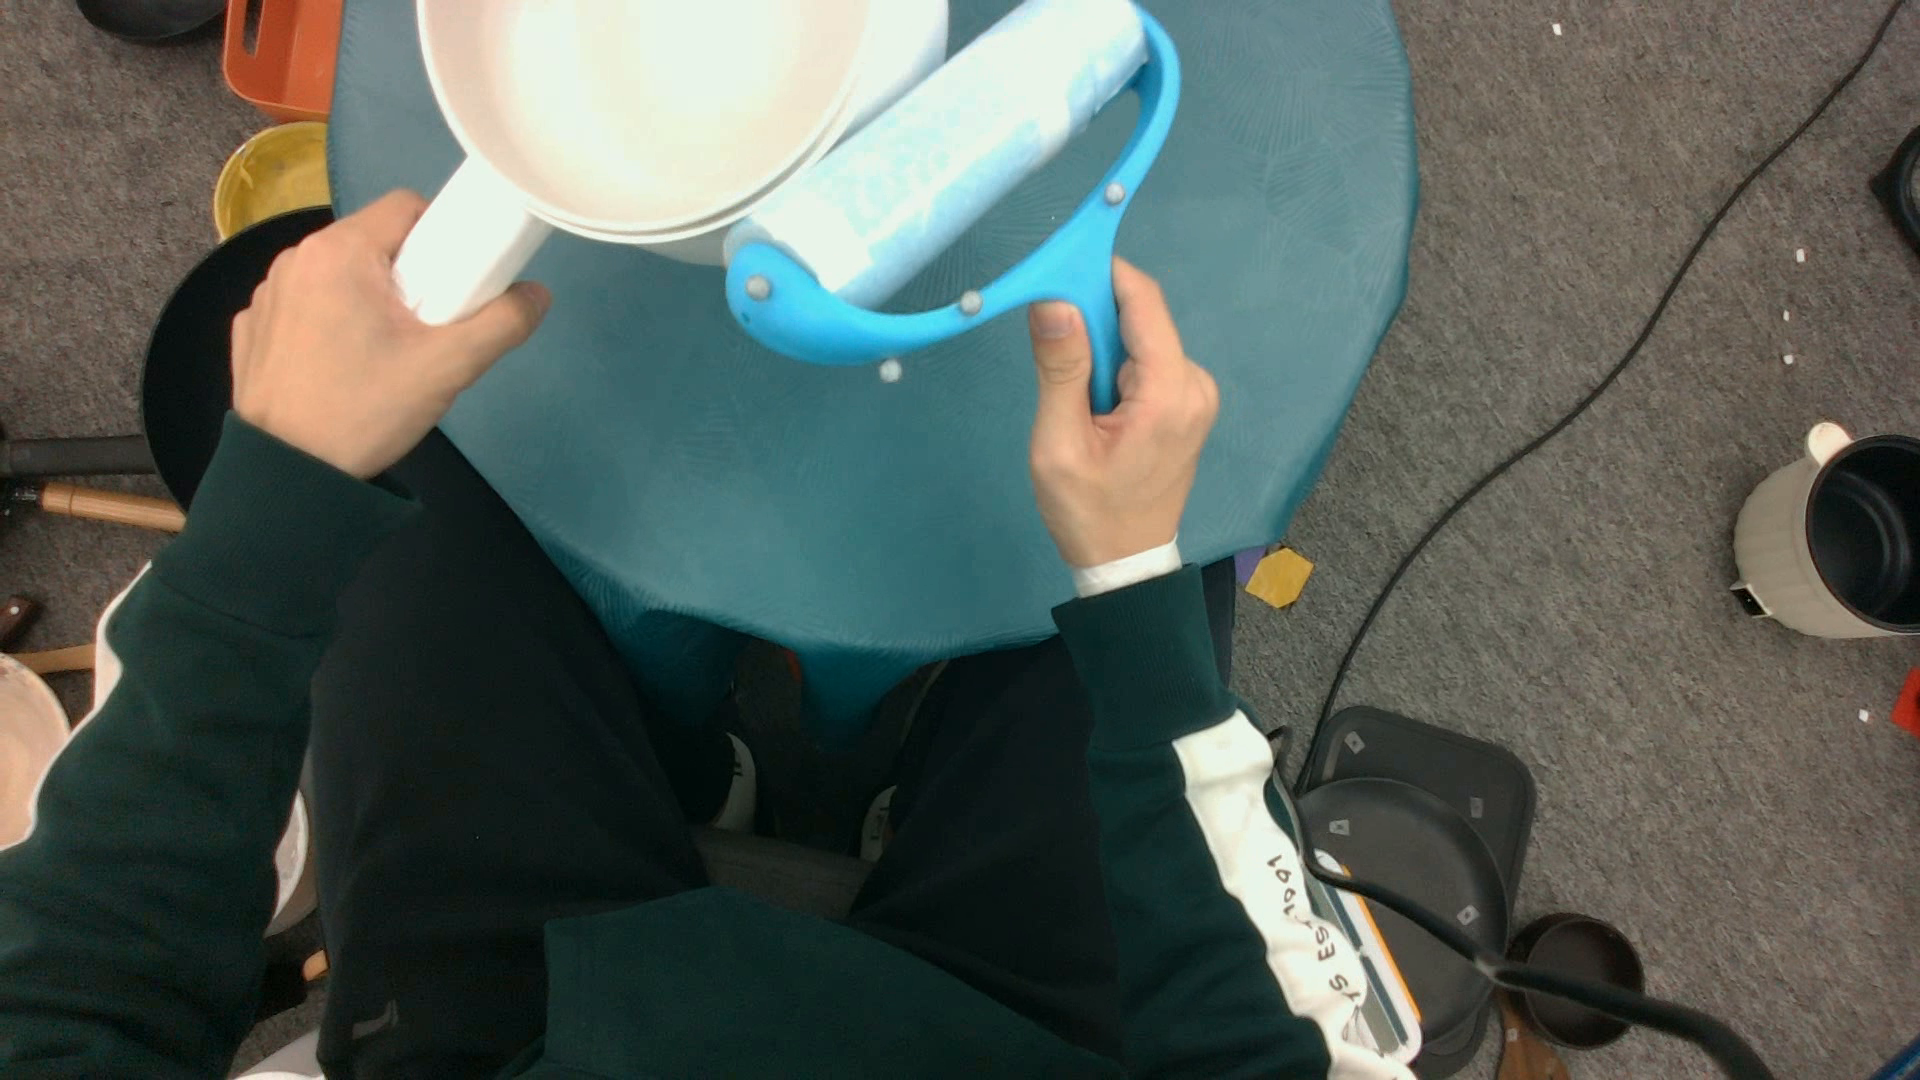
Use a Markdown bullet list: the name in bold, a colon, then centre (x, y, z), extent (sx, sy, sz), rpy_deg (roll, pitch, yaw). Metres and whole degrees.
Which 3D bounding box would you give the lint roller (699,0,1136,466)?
- **lint roller**: centre (0.020, -0.107, 0.551), extent (0.180, 0.067, 0.230), rpy_deg (50, 58, -20)

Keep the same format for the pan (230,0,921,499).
- **pan**: centre (-0.165, -0.159, 0.576), extent (0.201, 0.102, 0.354), rpy_deg (43, 102, 10)
